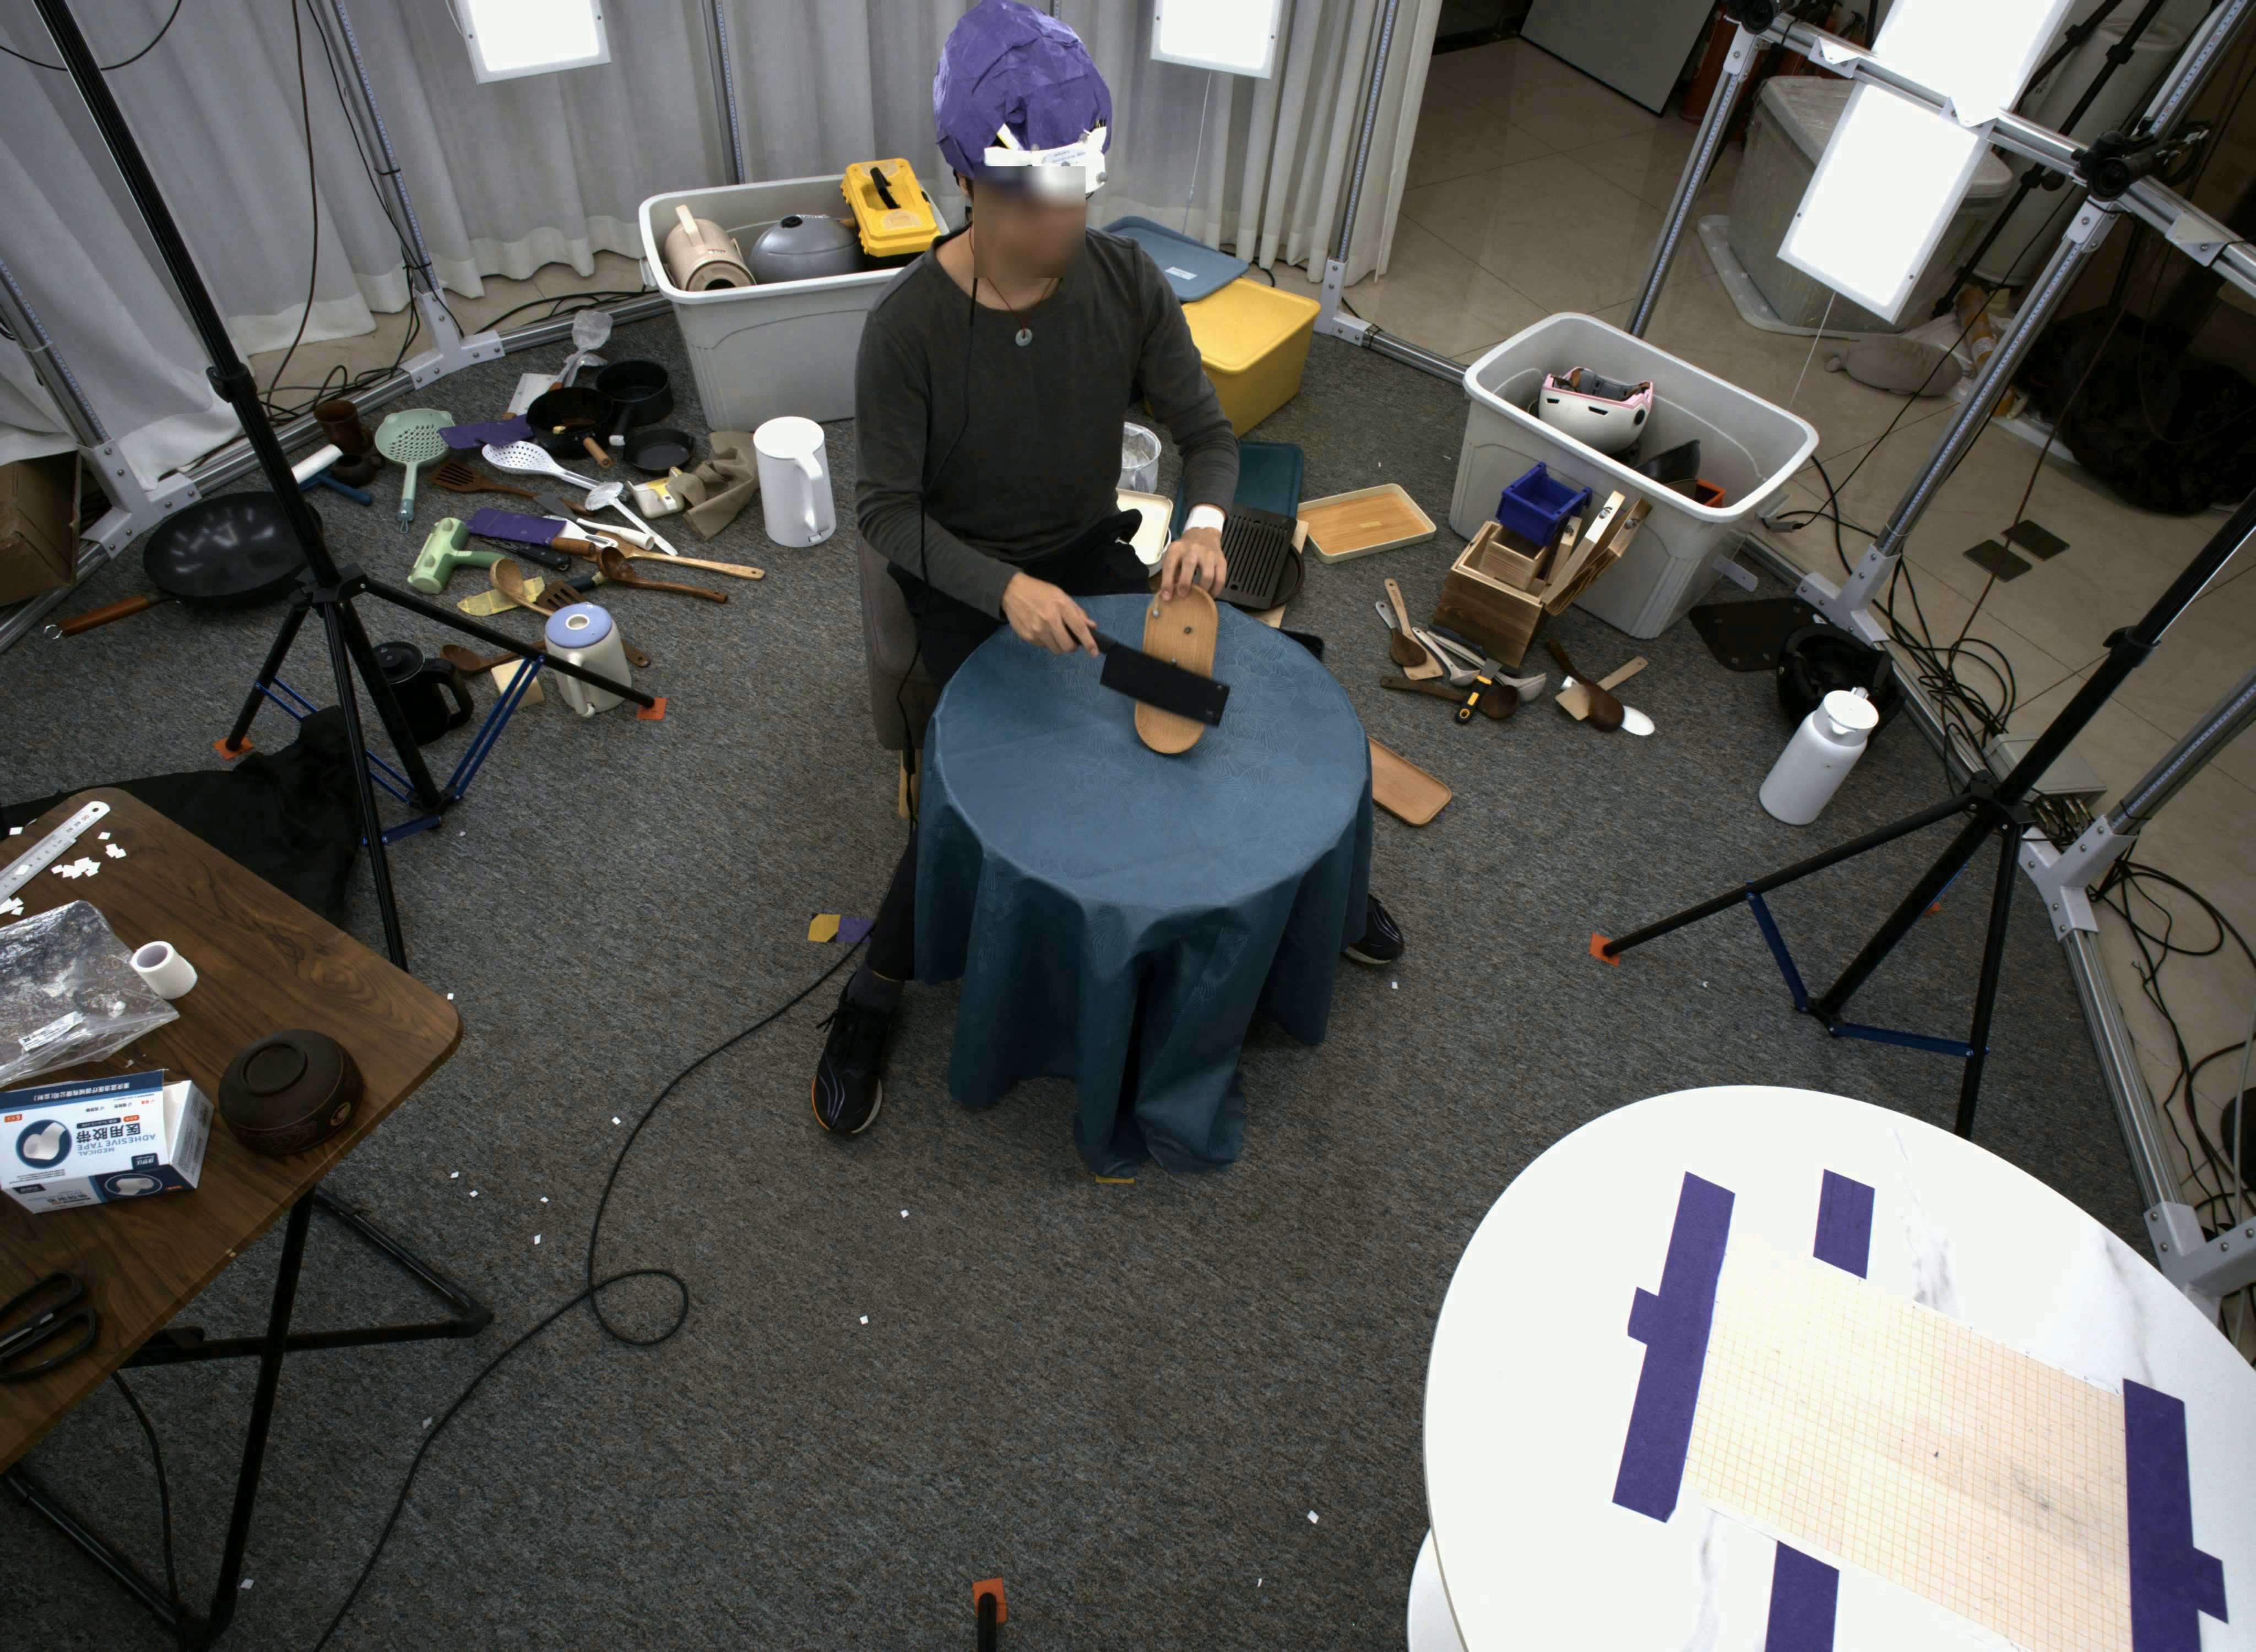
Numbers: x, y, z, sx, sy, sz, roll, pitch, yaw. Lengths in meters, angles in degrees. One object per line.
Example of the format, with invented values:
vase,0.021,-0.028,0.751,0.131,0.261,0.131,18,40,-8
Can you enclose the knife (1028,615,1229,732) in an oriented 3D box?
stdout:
knife,-0.004,-0.211,1.739,0.305,0.079,0.021,28,25,16

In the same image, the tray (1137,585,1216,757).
tray,0.067,-0.210,1.737,0.102,0.230,0.020,6,7,21
